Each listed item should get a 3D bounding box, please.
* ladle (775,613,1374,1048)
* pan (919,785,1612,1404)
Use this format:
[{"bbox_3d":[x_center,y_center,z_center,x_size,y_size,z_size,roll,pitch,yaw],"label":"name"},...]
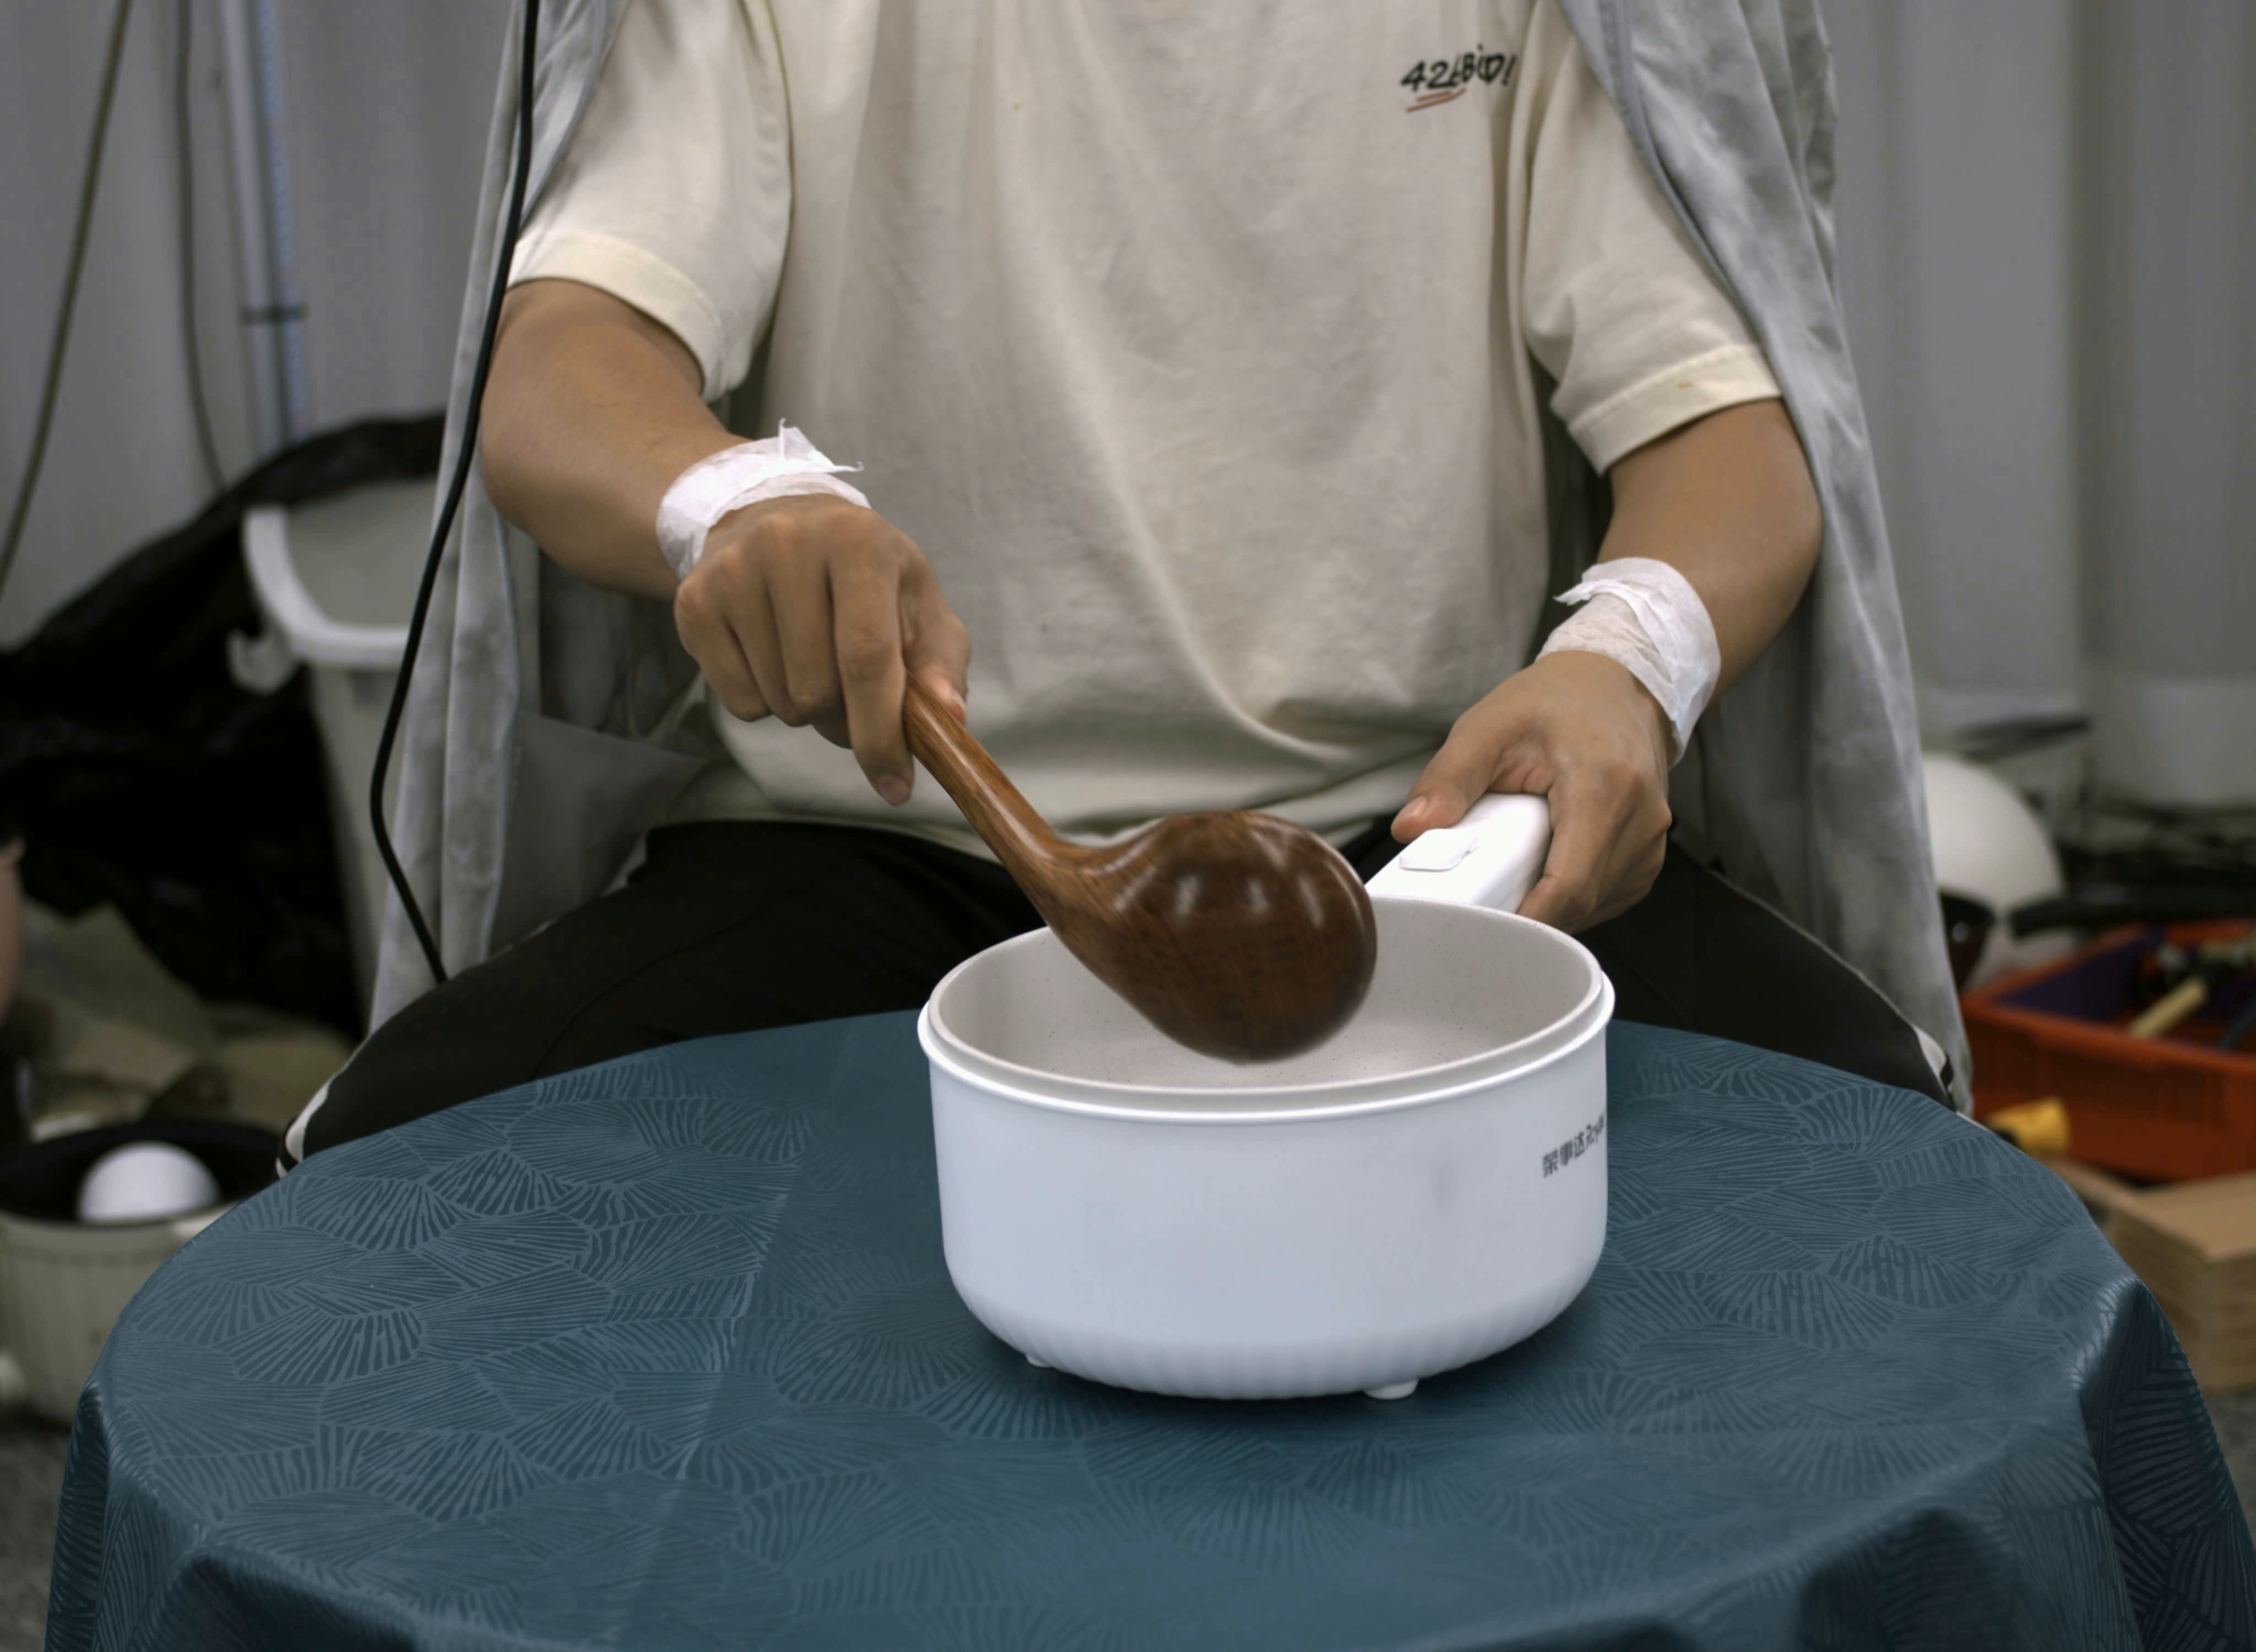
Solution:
[{"bbox_3d":[-0.019,-0.015,1.641,0.076,0.081,0.277,-6,25,-25],"label":"ladle"},{"bbox_3d":[0.070,0.077,1.658,0.201,0.102,0.356,2,15,22],"label":"pan"}]
